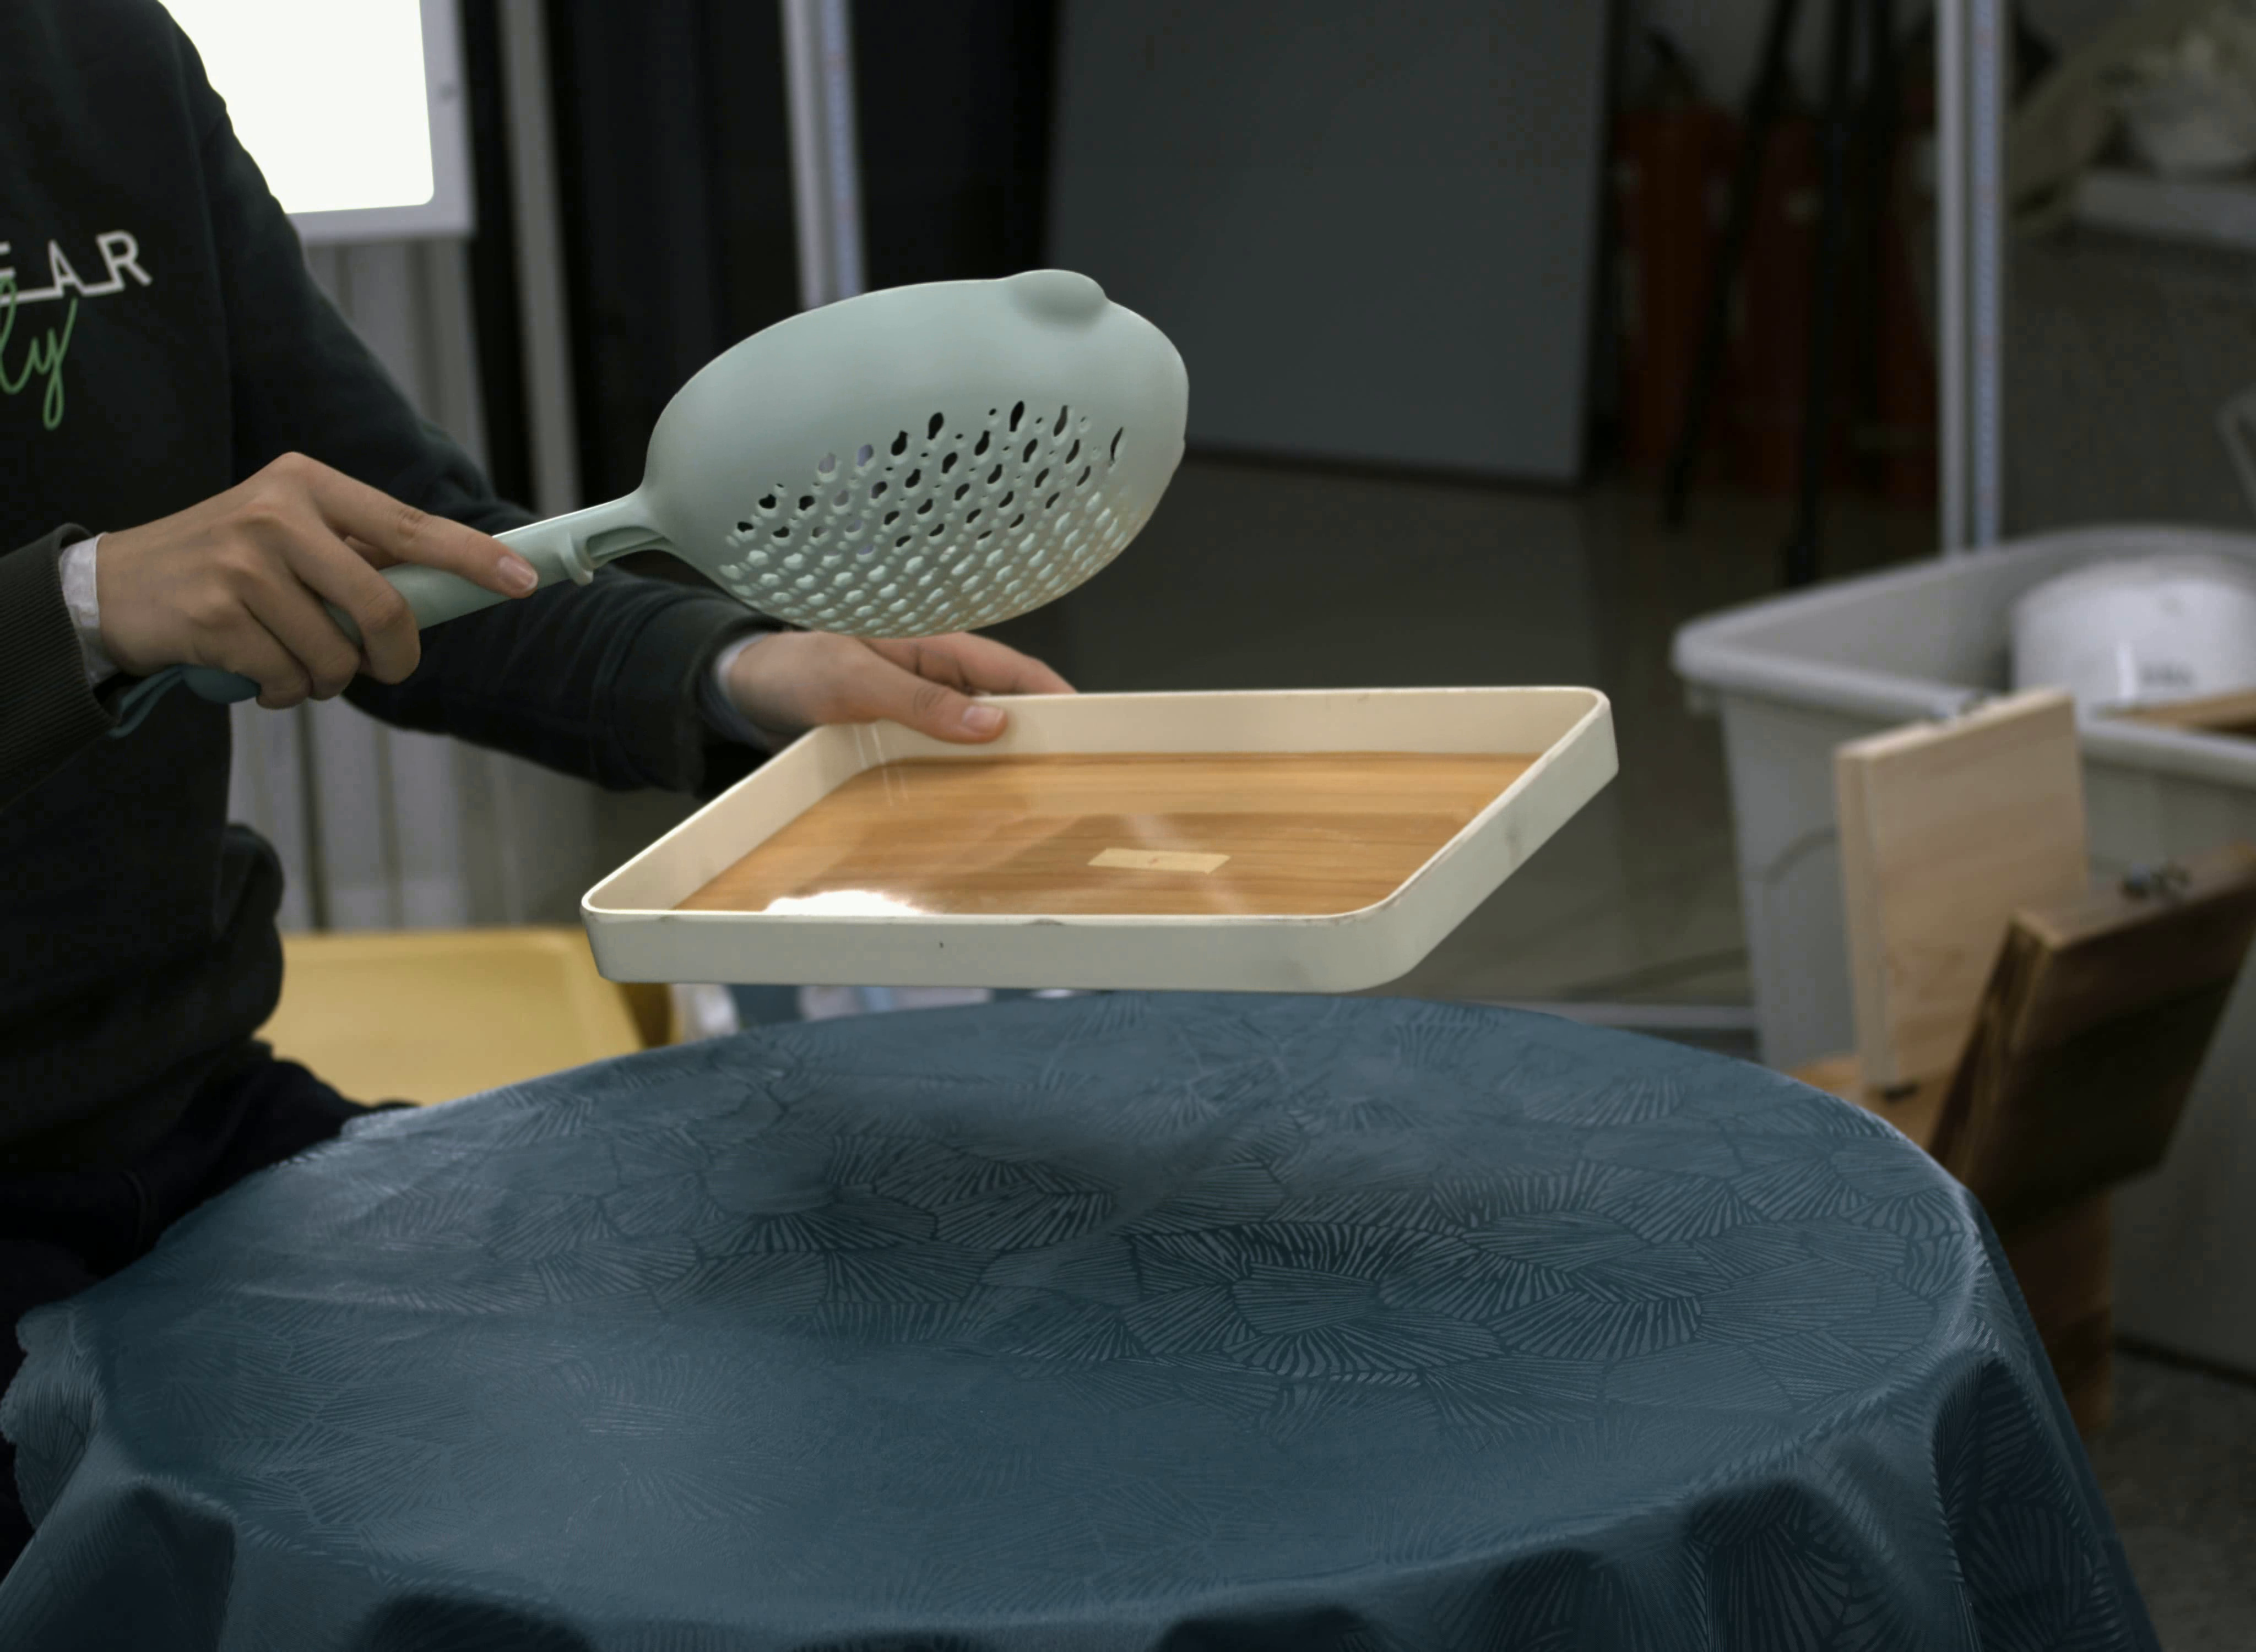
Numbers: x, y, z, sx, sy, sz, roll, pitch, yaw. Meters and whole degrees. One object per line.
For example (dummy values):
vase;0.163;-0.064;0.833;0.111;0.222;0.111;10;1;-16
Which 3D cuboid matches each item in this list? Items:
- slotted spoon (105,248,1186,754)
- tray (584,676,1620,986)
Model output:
slotted spoon;-0.153;-0.087;1.681;0.357;0.076;0.168;-10;-26;14
tray;-0.008;0.002;1.729;0.301;0.027;0.189;-1;23;32
